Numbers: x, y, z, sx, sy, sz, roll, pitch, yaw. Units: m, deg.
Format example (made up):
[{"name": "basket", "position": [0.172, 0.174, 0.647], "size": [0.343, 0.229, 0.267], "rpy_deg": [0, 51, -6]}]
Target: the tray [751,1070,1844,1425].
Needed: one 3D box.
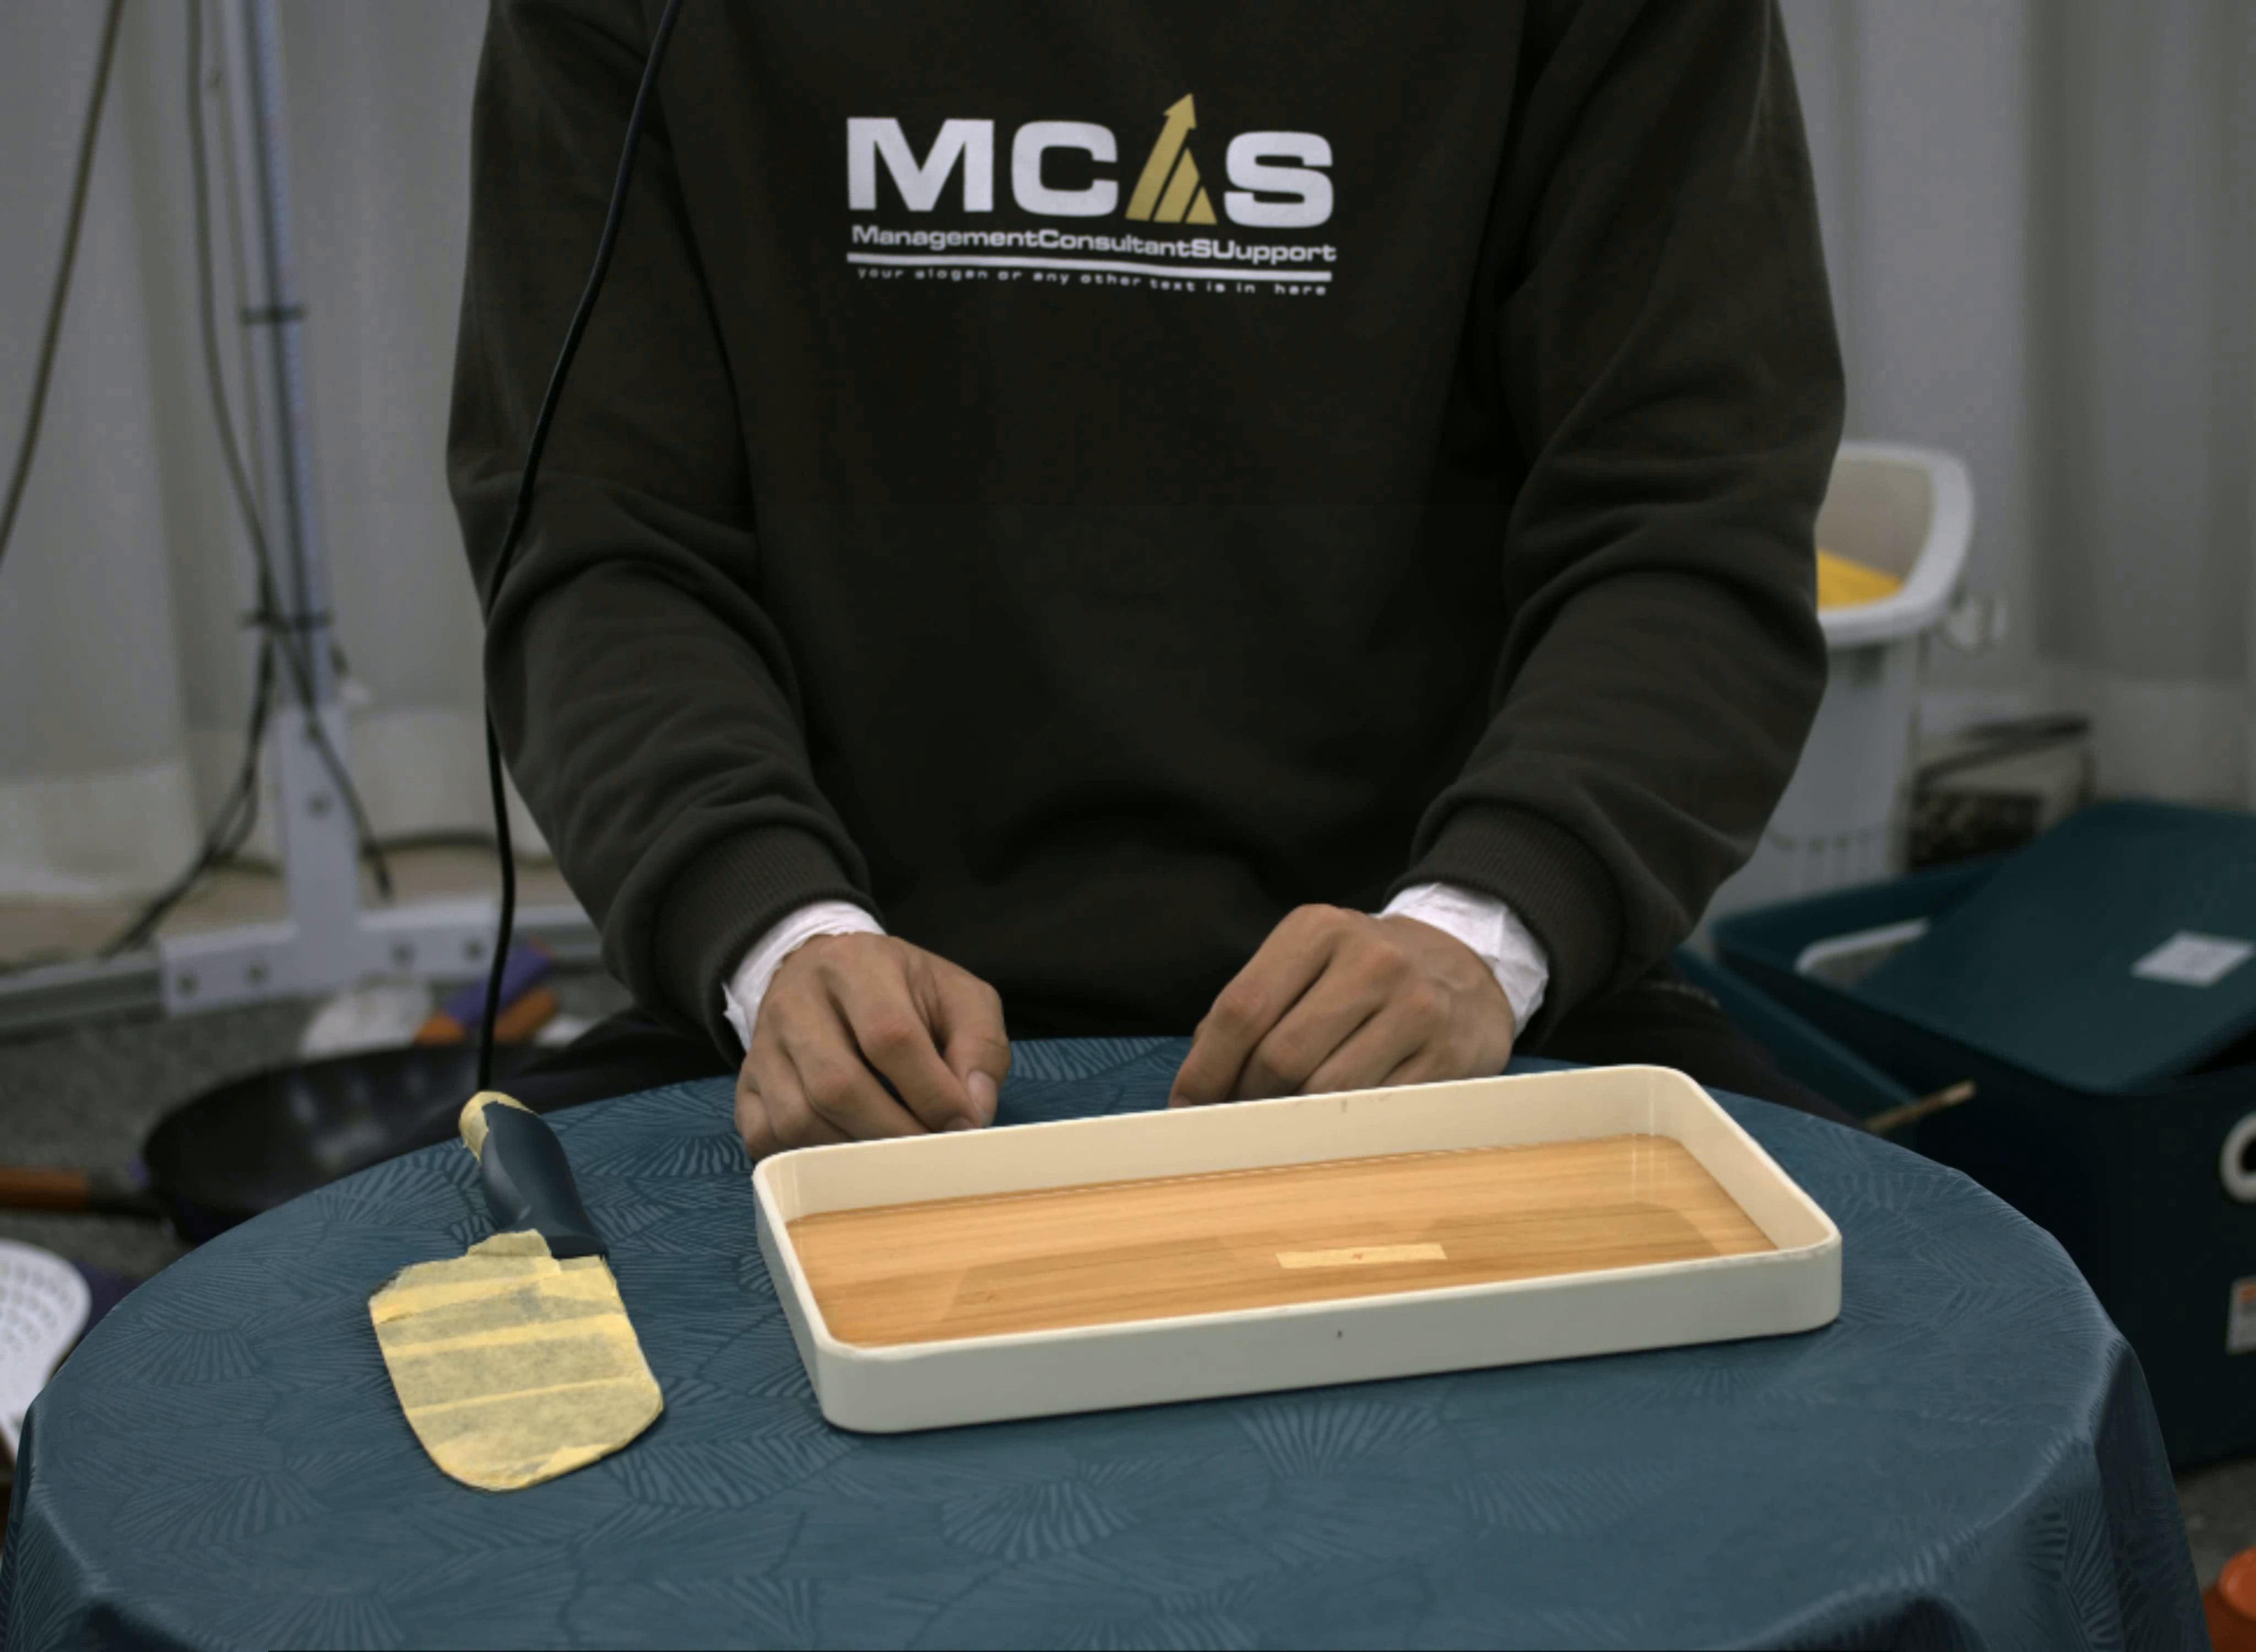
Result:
[{"name": "tray", "position": [0.046, 0.123, 1.627], "size": [0.299, 0.027, 0.193], "rpy_deg": [-5, 14, -9]}]

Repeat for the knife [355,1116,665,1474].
[{"name": "knife", "position": [-0.189, 0.140, 1.631], "size": [0.080, 0.027, 0.292], "rpy_deg": [-4, 16, -11]}]
